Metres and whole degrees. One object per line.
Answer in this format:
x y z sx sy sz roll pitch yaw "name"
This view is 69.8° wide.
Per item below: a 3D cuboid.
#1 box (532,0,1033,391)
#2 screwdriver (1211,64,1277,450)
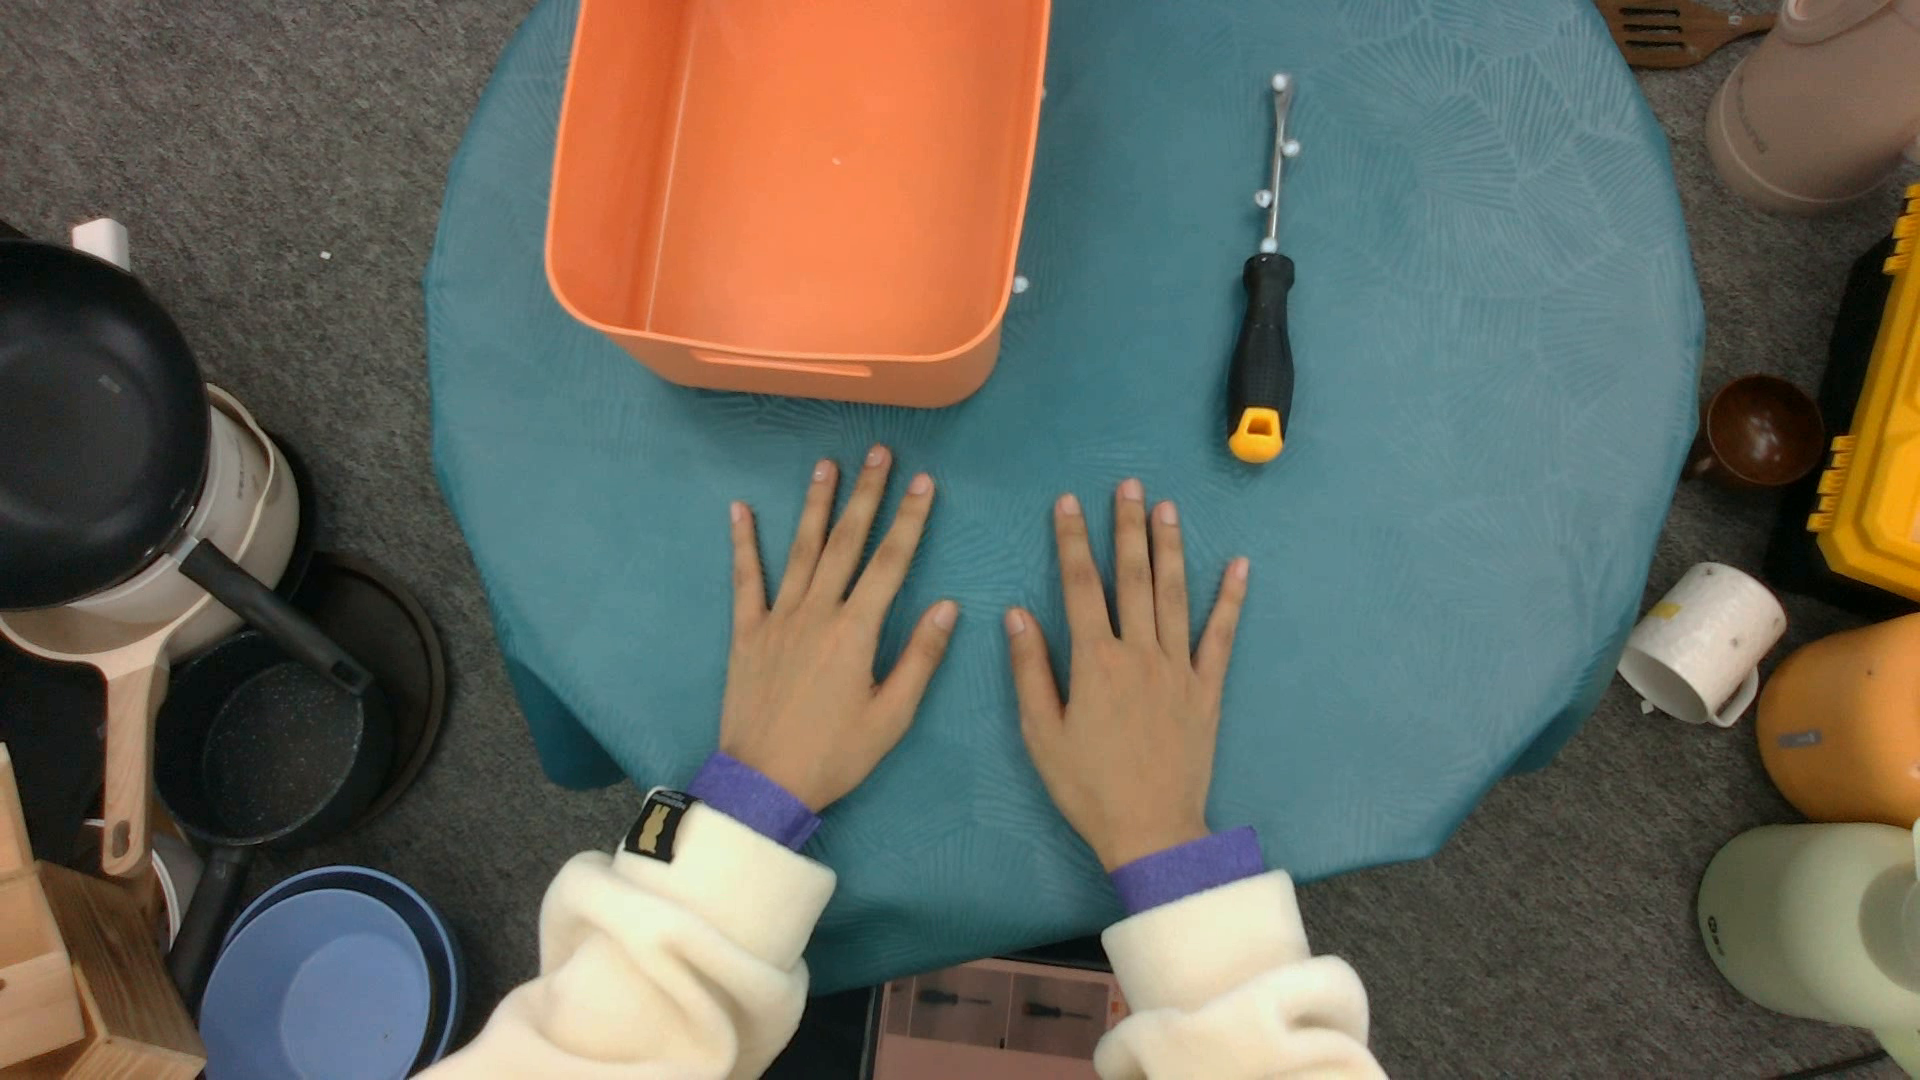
-0.069 -0.201 0.622 0.199 0.102 0.274 5 77 2 "box"
0.140 -0.136 0.644 0.031 0.031 0.198 9 74 4 "screwdriver"
